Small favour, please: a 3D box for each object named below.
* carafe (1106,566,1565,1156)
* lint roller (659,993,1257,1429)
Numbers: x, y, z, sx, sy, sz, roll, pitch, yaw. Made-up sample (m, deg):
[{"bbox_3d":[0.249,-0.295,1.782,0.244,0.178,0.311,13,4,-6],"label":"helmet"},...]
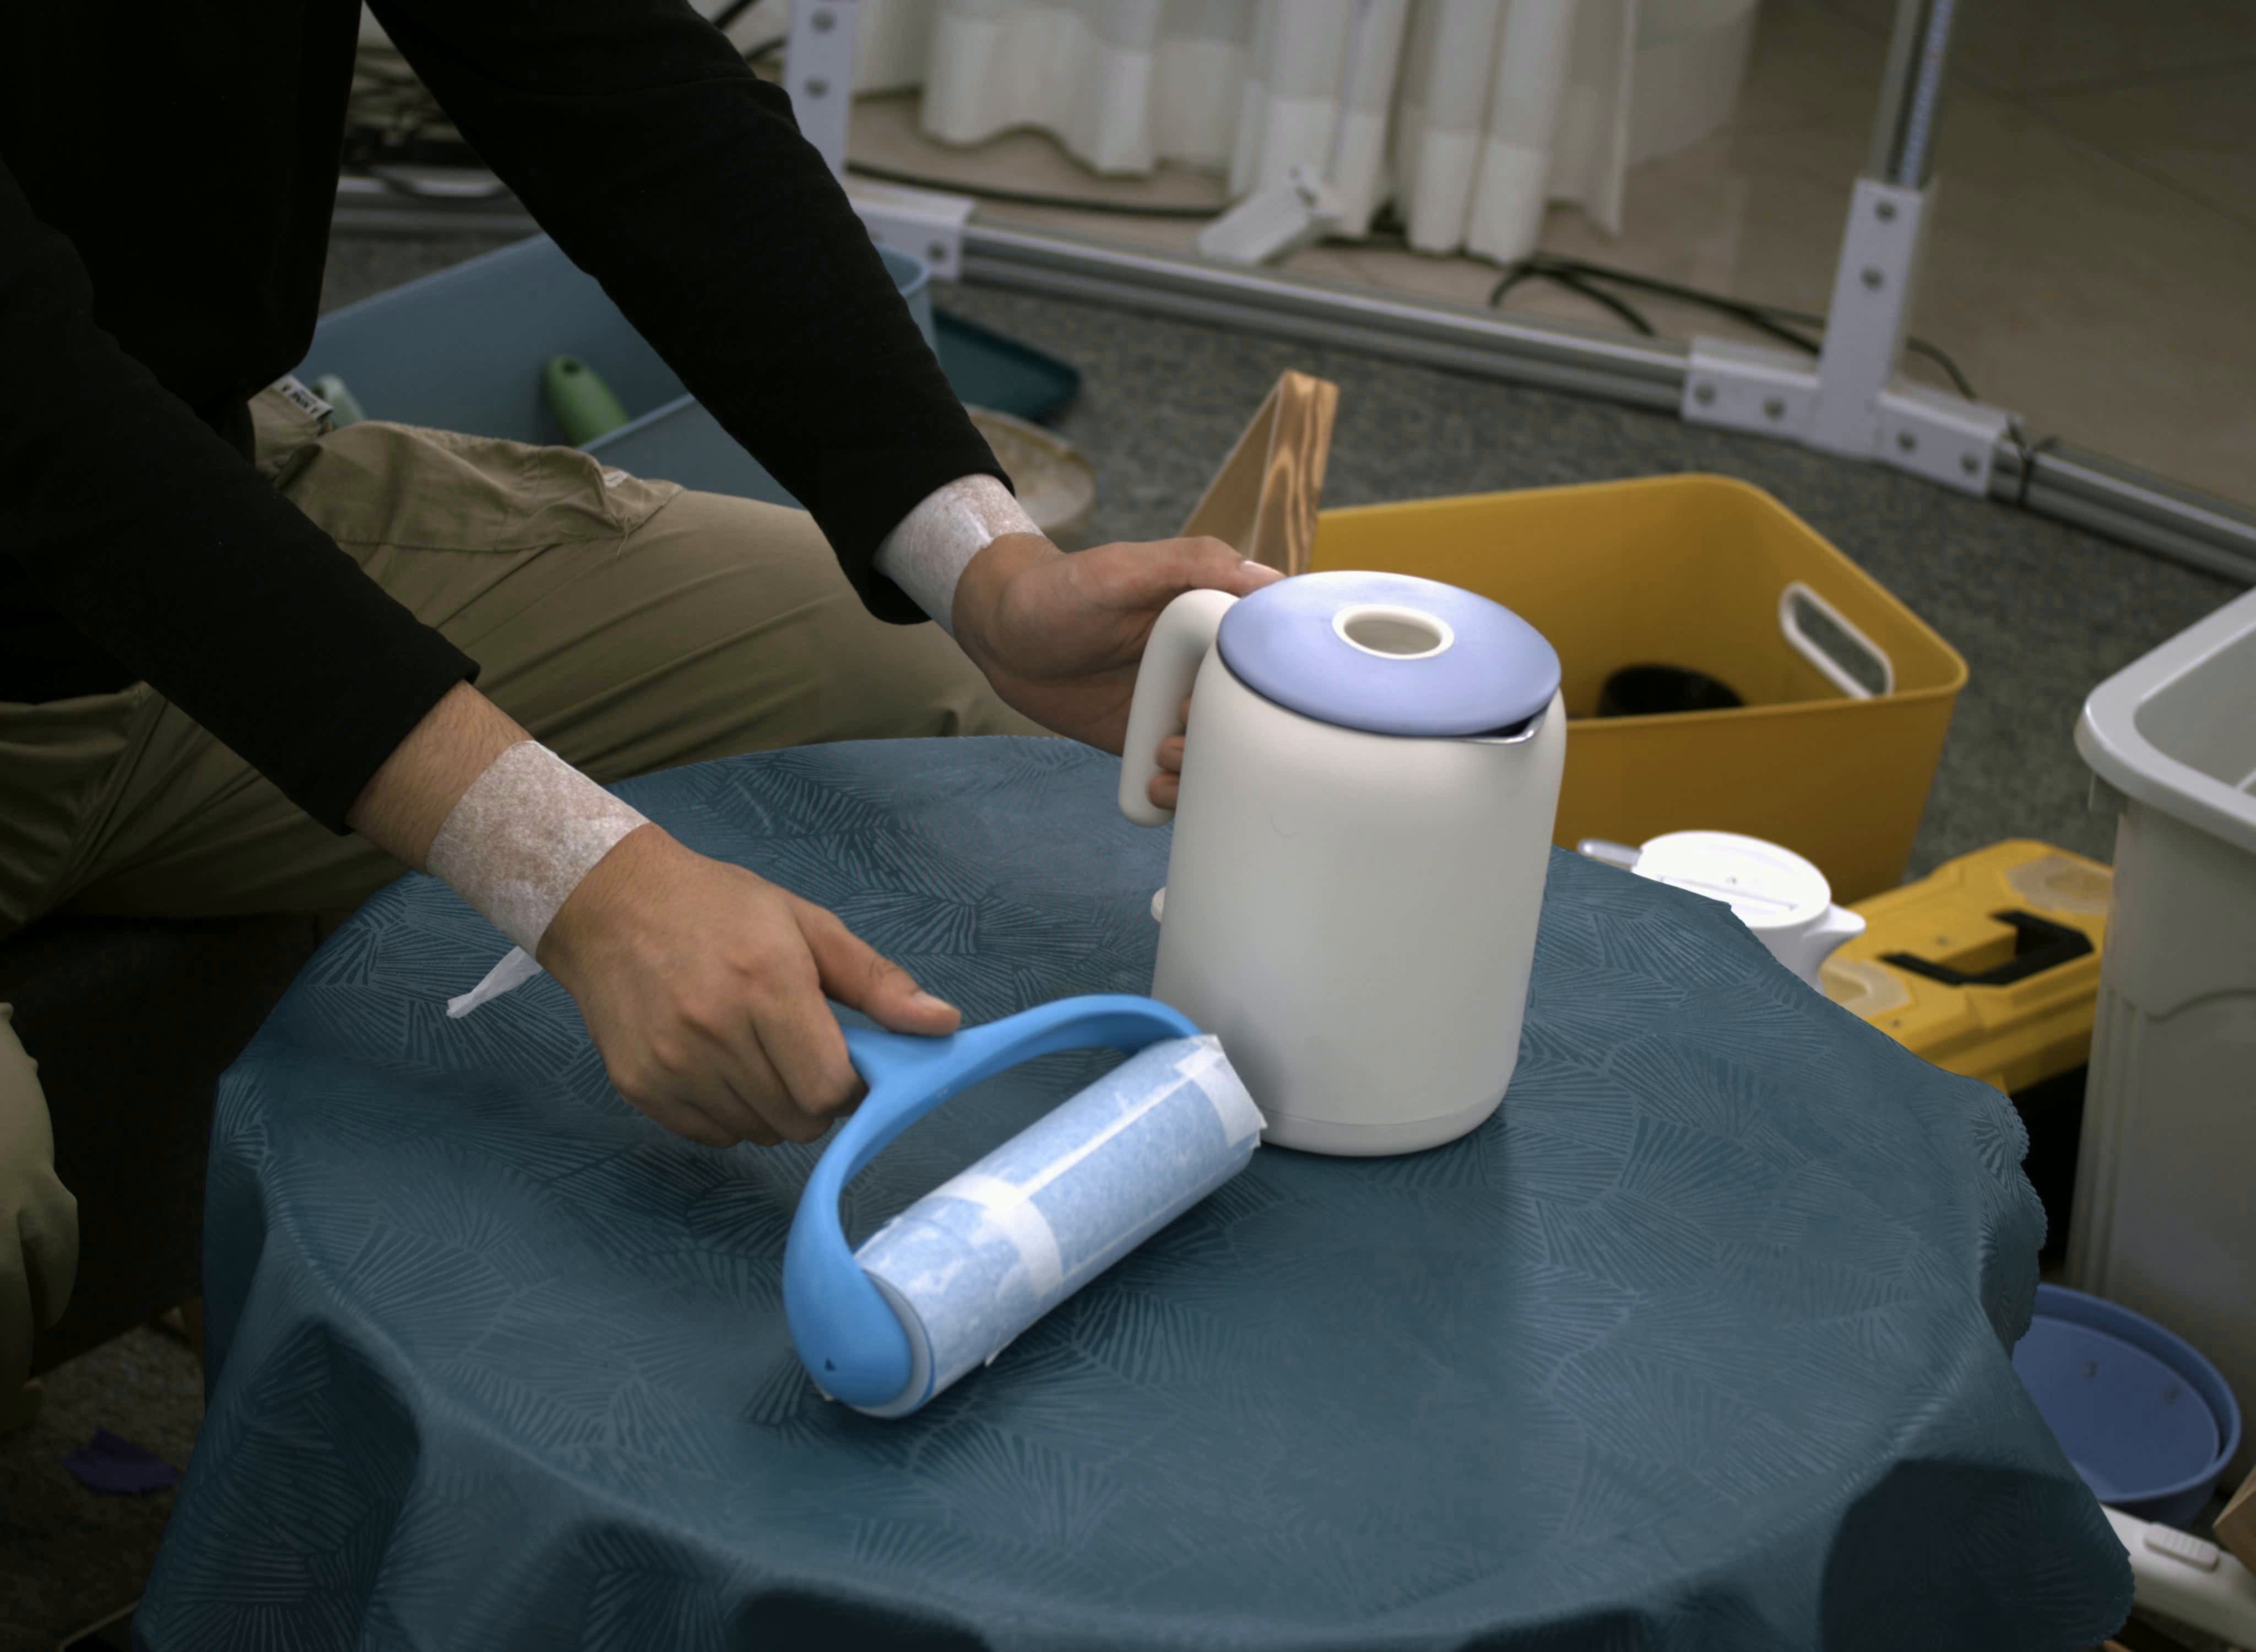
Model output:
[{"bbox_3d":[0.063,0.002,1.865,0.131,0.182,0.192,-17,33,-40],"label":"carafe"},{"bbox_3d":[-0.079,0.099,1.747,0.181,0.068,0.228,32,38,18],"label":"lint roller"}]
